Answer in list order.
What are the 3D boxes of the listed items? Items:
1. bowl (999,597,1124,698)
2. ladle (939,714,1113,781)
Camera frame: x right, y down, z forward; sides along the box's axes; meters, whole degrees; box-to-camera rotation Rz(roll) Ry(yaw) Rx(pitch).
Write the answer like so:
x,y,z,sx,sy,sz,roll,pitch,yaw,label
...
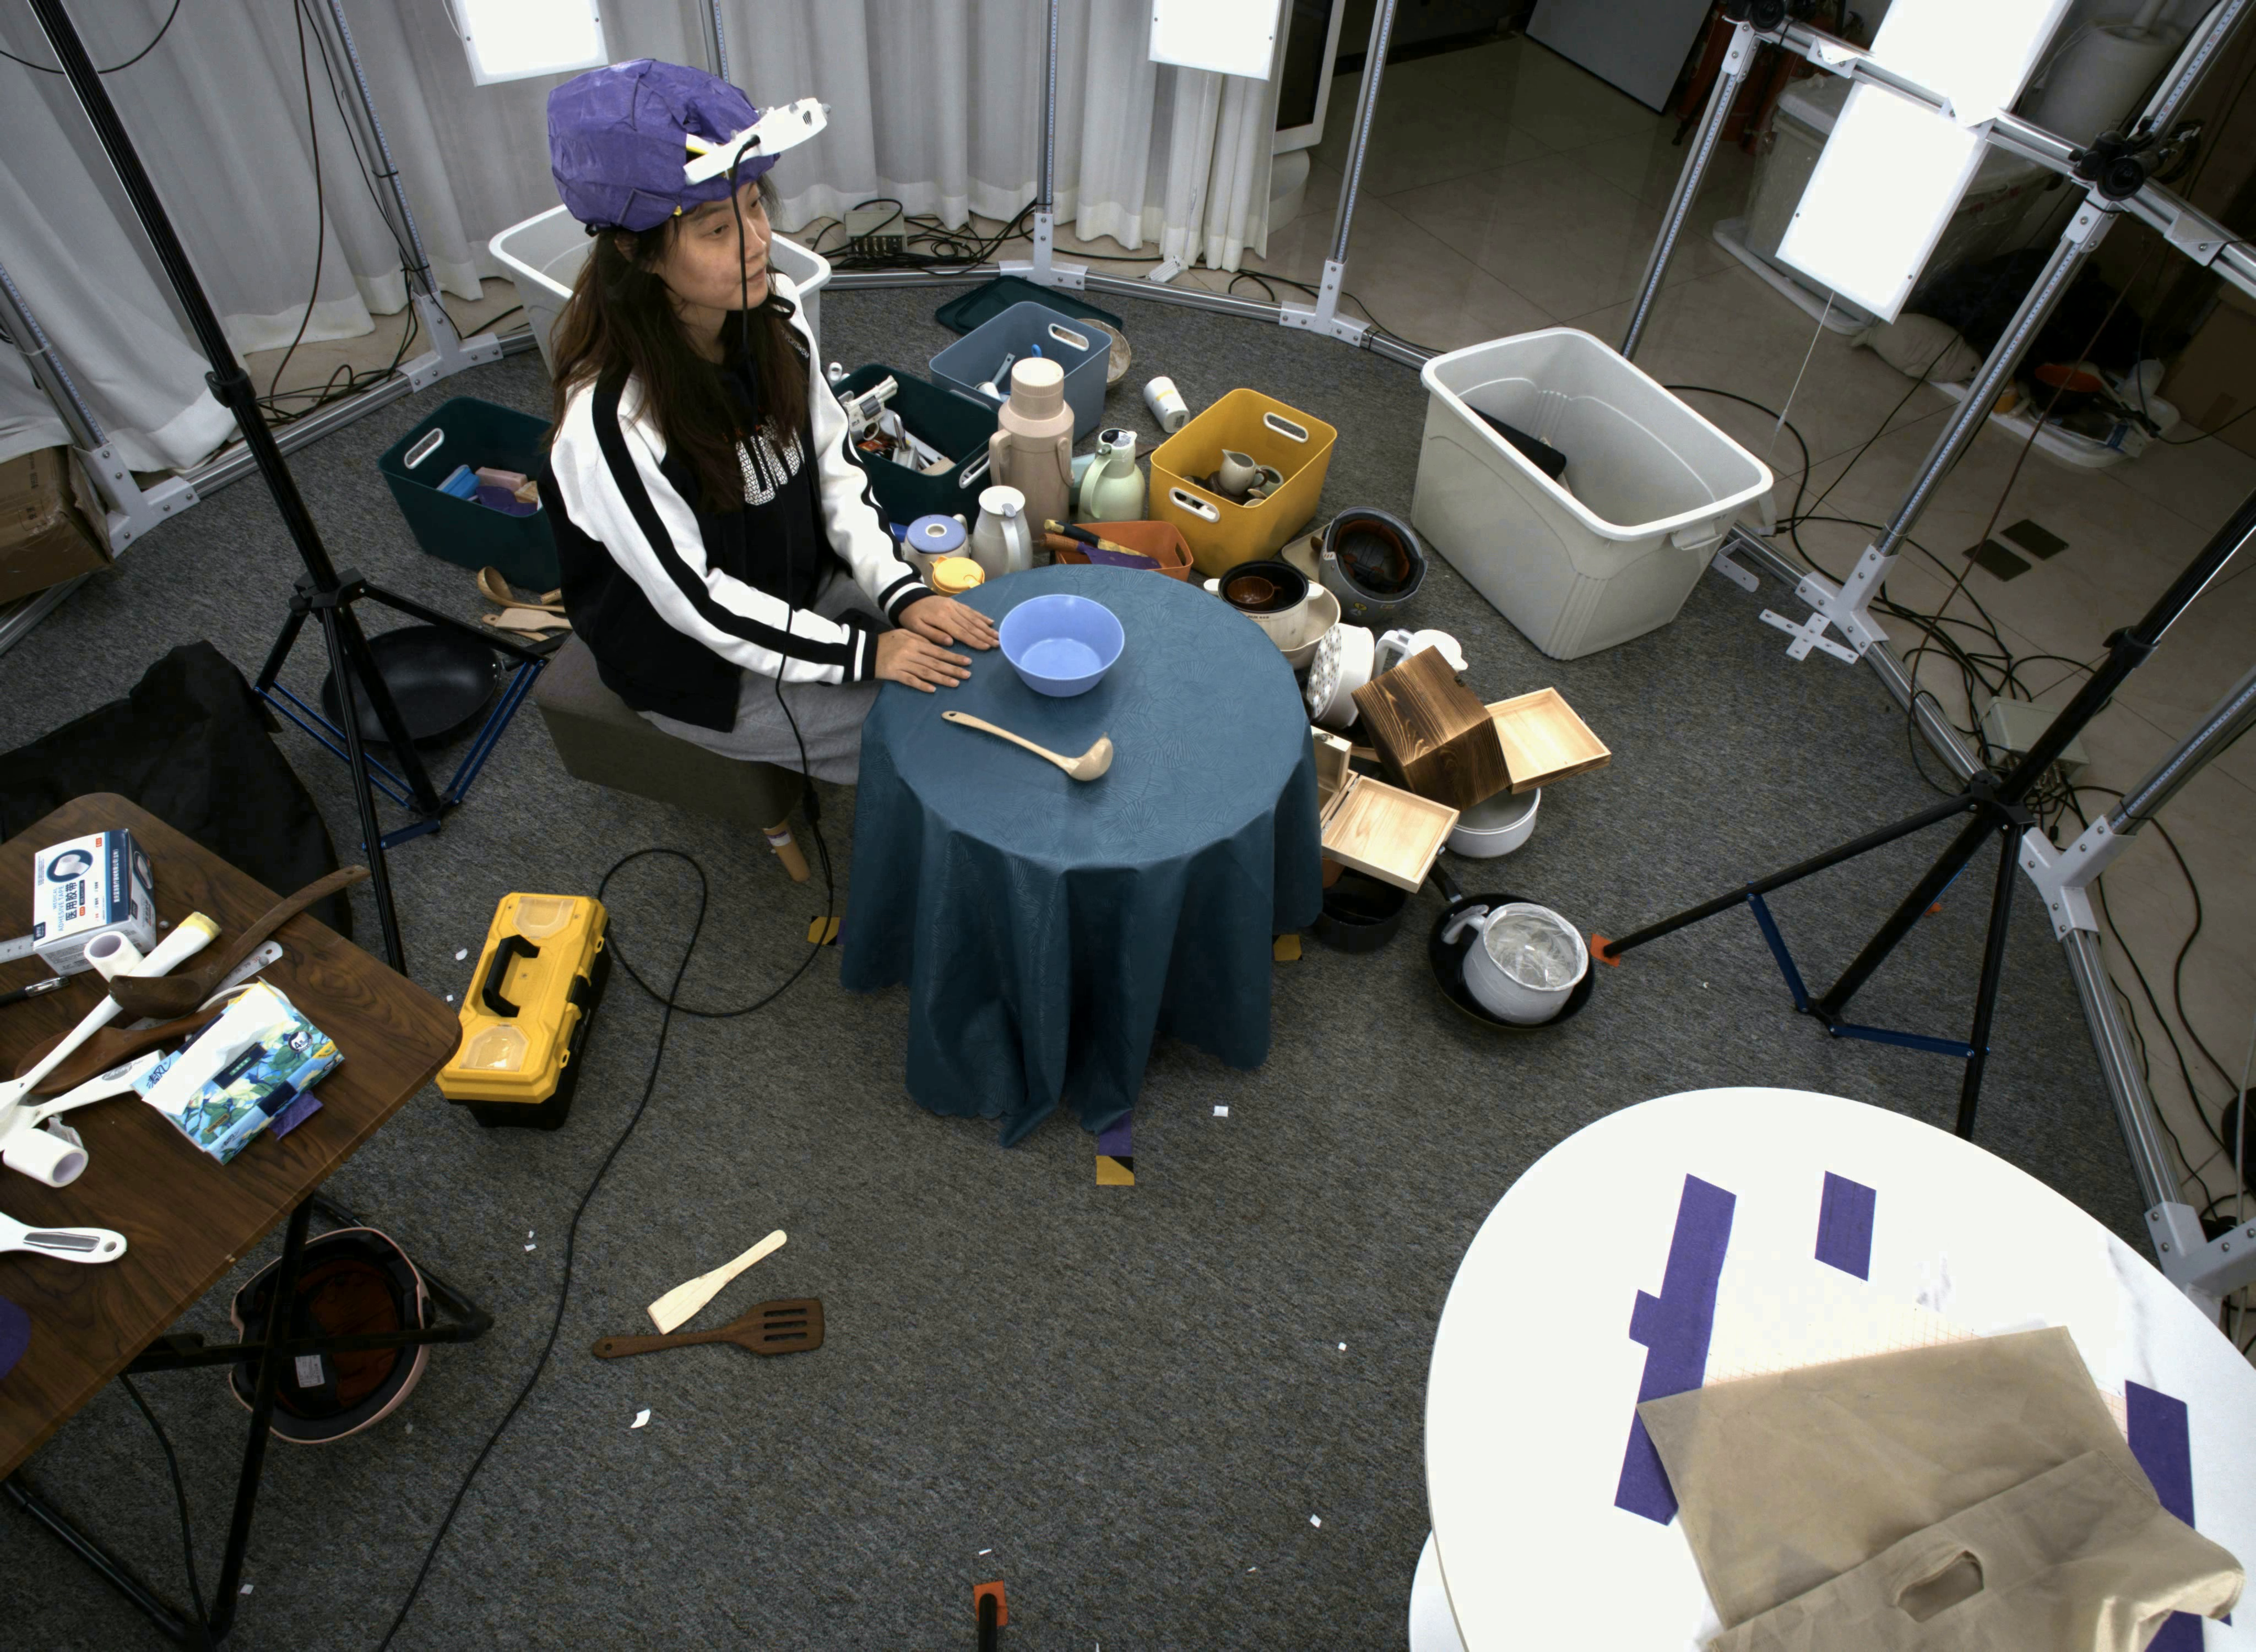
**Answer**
x,y,z,sx,sy,sz,roll,pitch,yaw,label
-0.095,-0.246,1.832,0.176,0.068,0.180,2,48,-3,bowl
-0.142,-0.130,1.726,0.256,0.071,0.073,22,47,14,ladle
